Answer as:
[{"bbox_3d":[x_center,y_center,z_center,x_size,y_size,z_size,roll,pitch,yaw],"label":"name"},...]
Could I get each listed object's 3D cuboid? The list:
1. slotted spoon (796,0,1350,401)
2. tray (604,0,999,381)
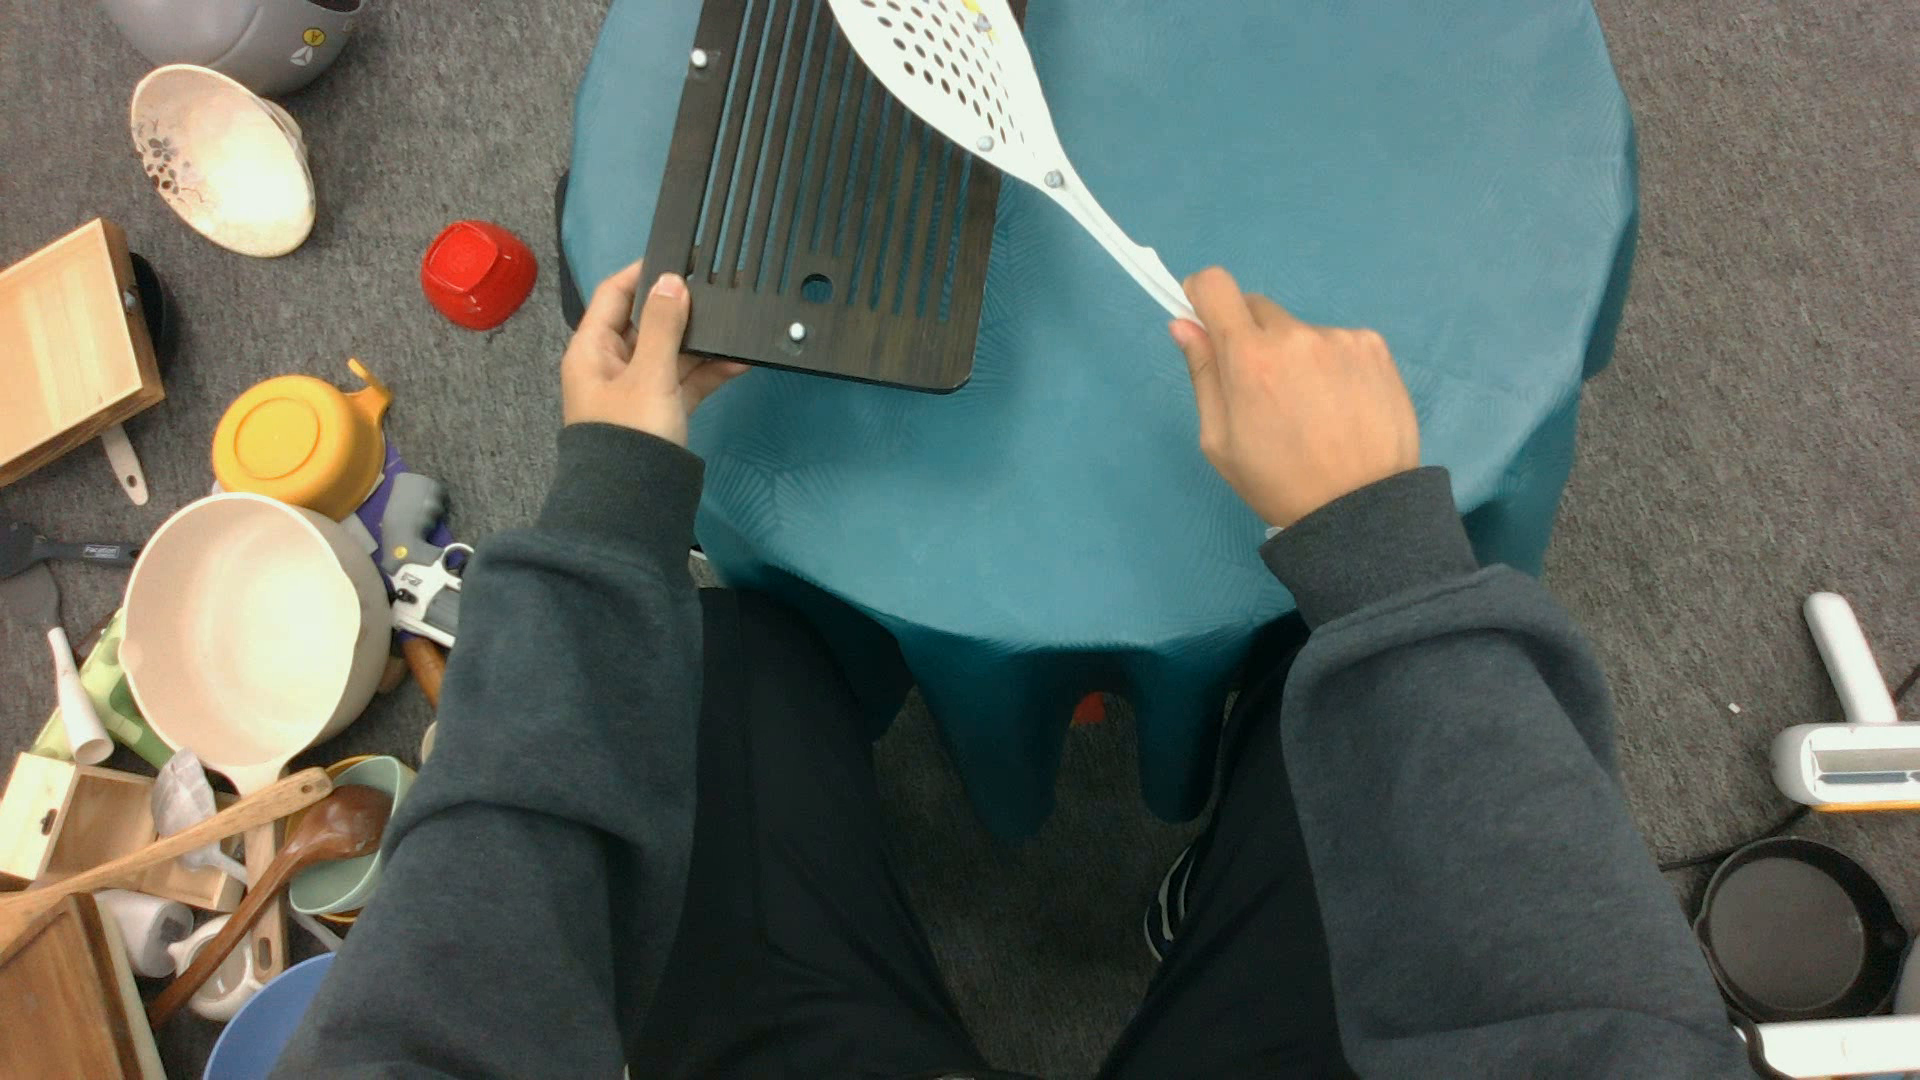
[{"bbox_3d":[0.043,-0.178,0.640,0.050,0.136,0.348,-38,81,-14],"label":"slotted spoon"},{"bbox_3d":[-0.073,-0.232,0.722,0.170,0.018,0.307,9,72,-2],"label":"tray"}]
